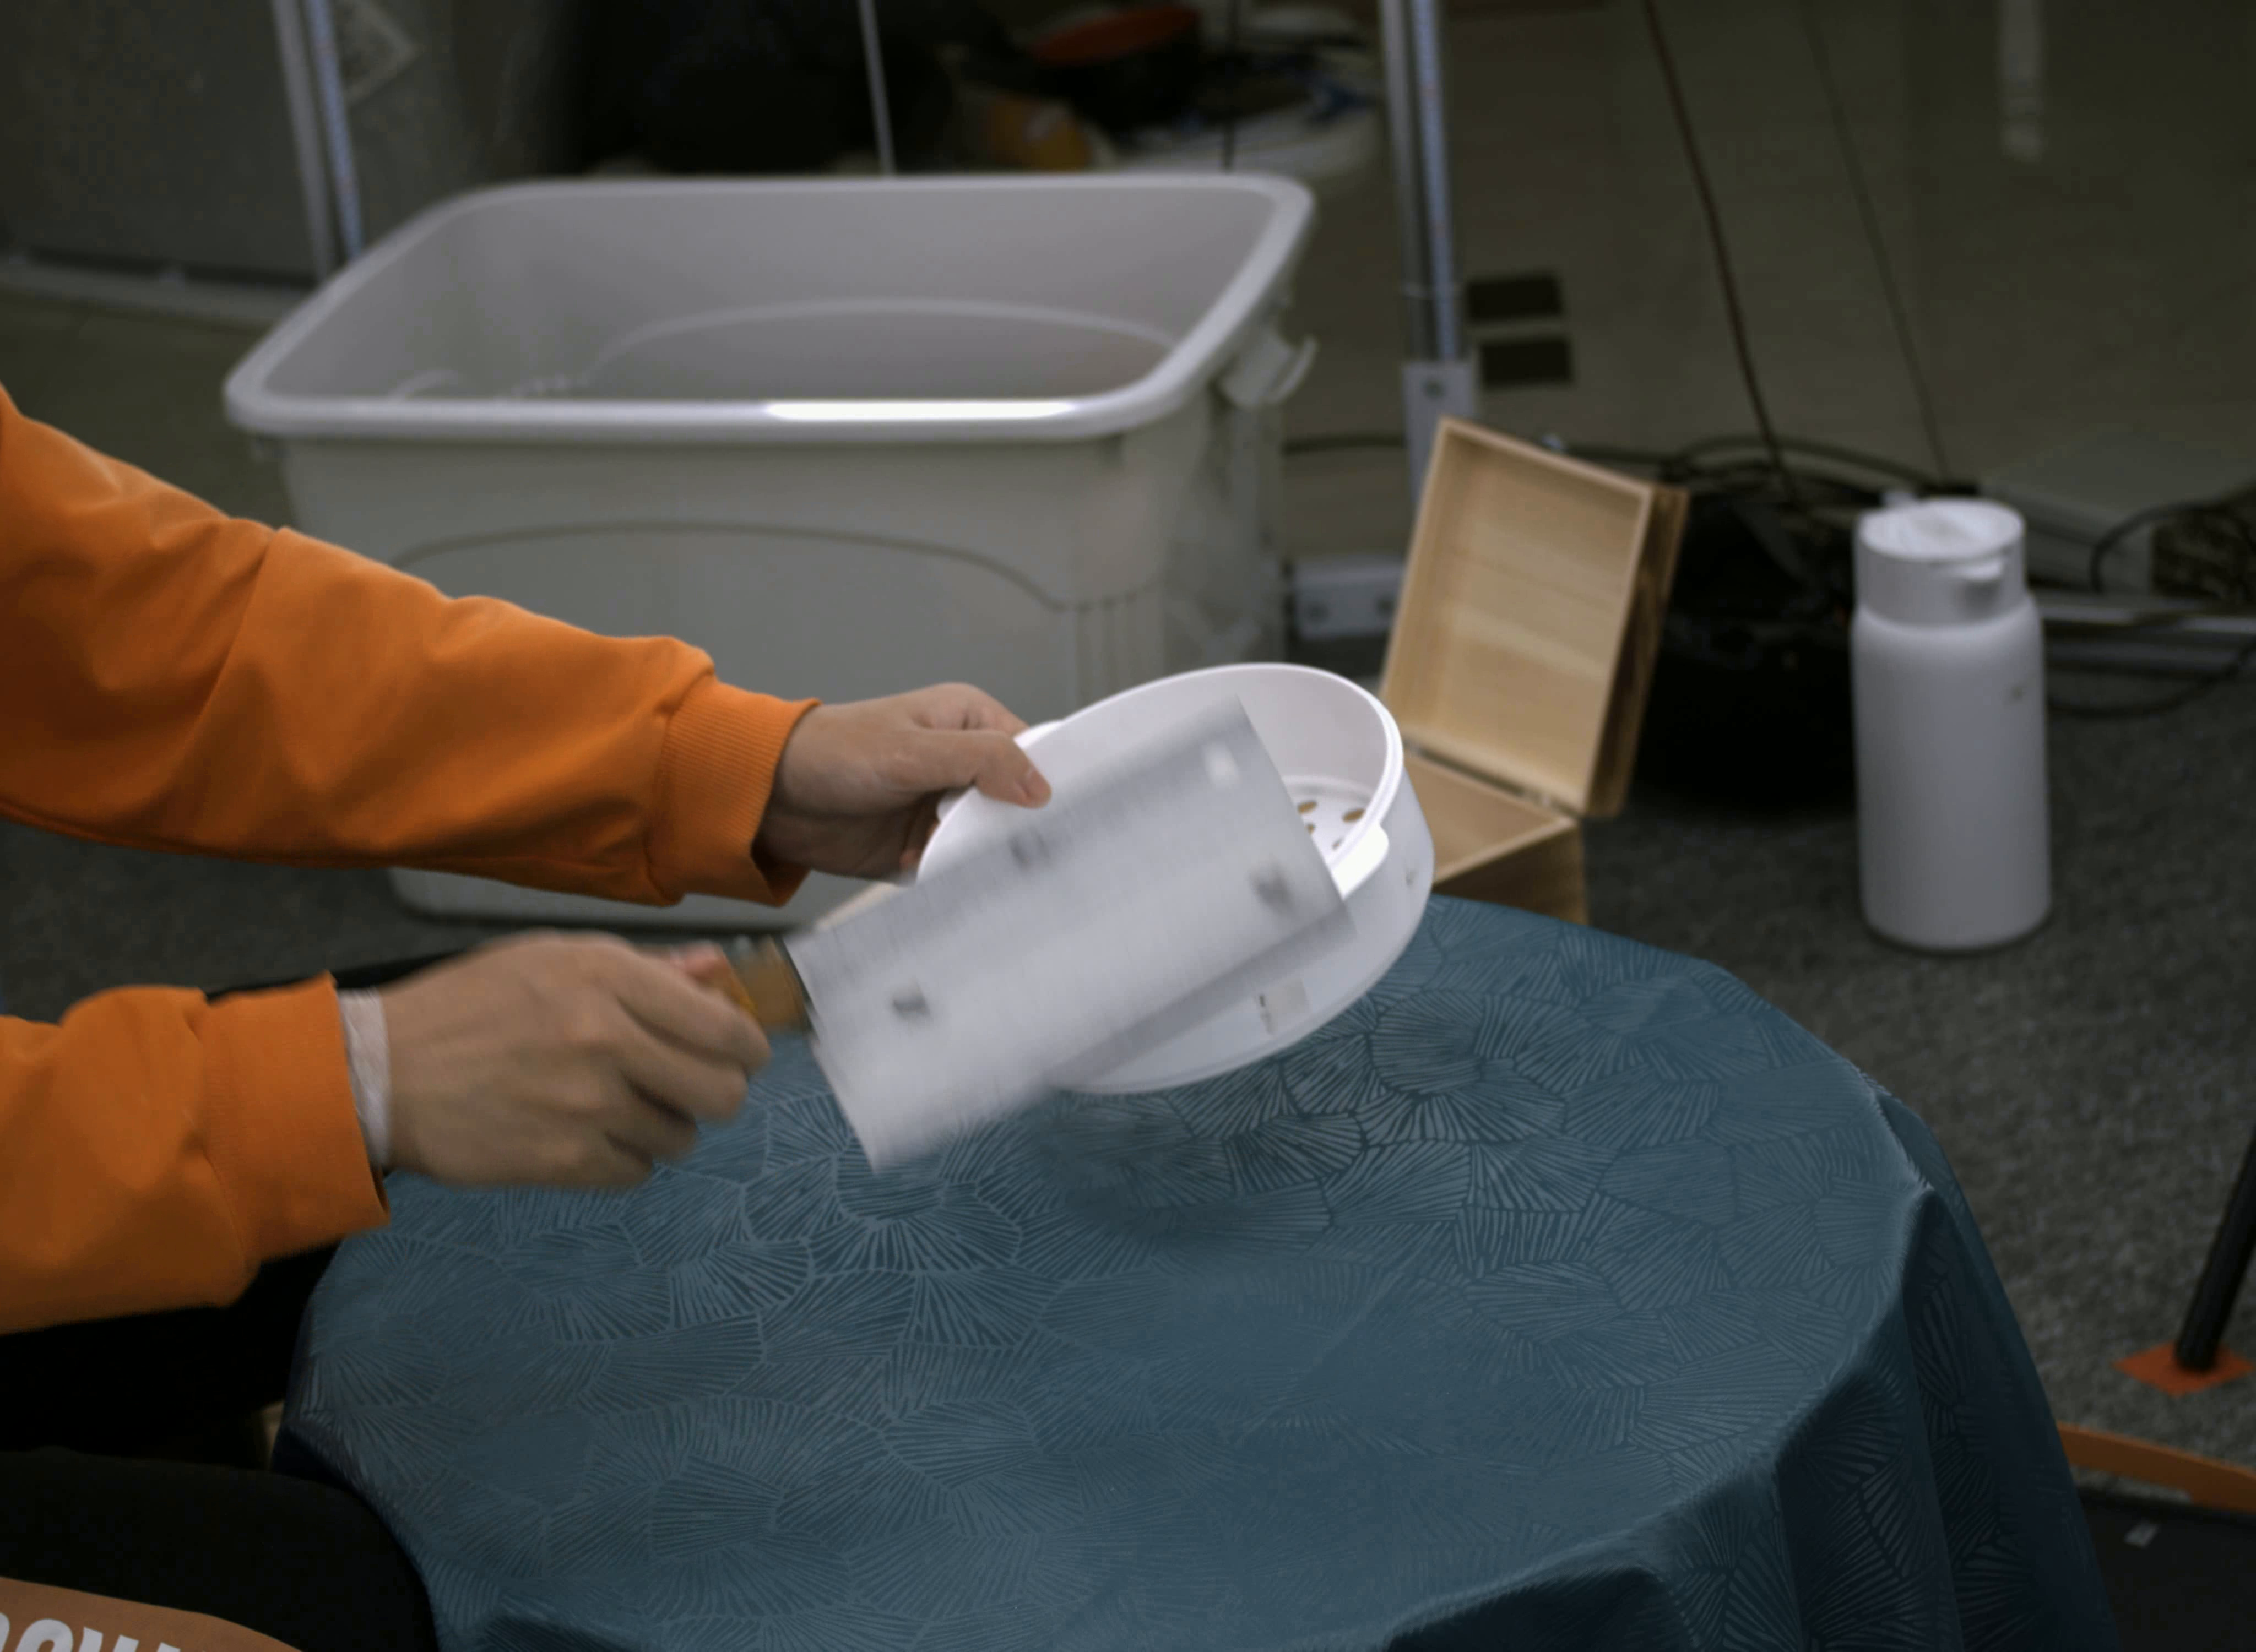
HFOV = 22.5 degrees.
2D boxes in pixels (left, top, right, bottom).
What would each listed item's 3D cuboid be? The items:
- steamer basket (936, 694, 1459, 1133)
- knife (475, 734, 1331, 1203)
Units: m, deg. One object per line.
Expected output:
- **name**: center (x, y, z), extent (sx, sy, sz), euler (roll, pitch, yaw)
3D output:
- **steamer basket**: center (0.028, 0.035, 2.181), extent (0.200, 0.070, 0.228), euler (-40, 39, -24)
- **knife**: center (-0.074, 0.071, 1.965), extent (0.305, 0.094, 0.021), euler (-27, 18, 3)
